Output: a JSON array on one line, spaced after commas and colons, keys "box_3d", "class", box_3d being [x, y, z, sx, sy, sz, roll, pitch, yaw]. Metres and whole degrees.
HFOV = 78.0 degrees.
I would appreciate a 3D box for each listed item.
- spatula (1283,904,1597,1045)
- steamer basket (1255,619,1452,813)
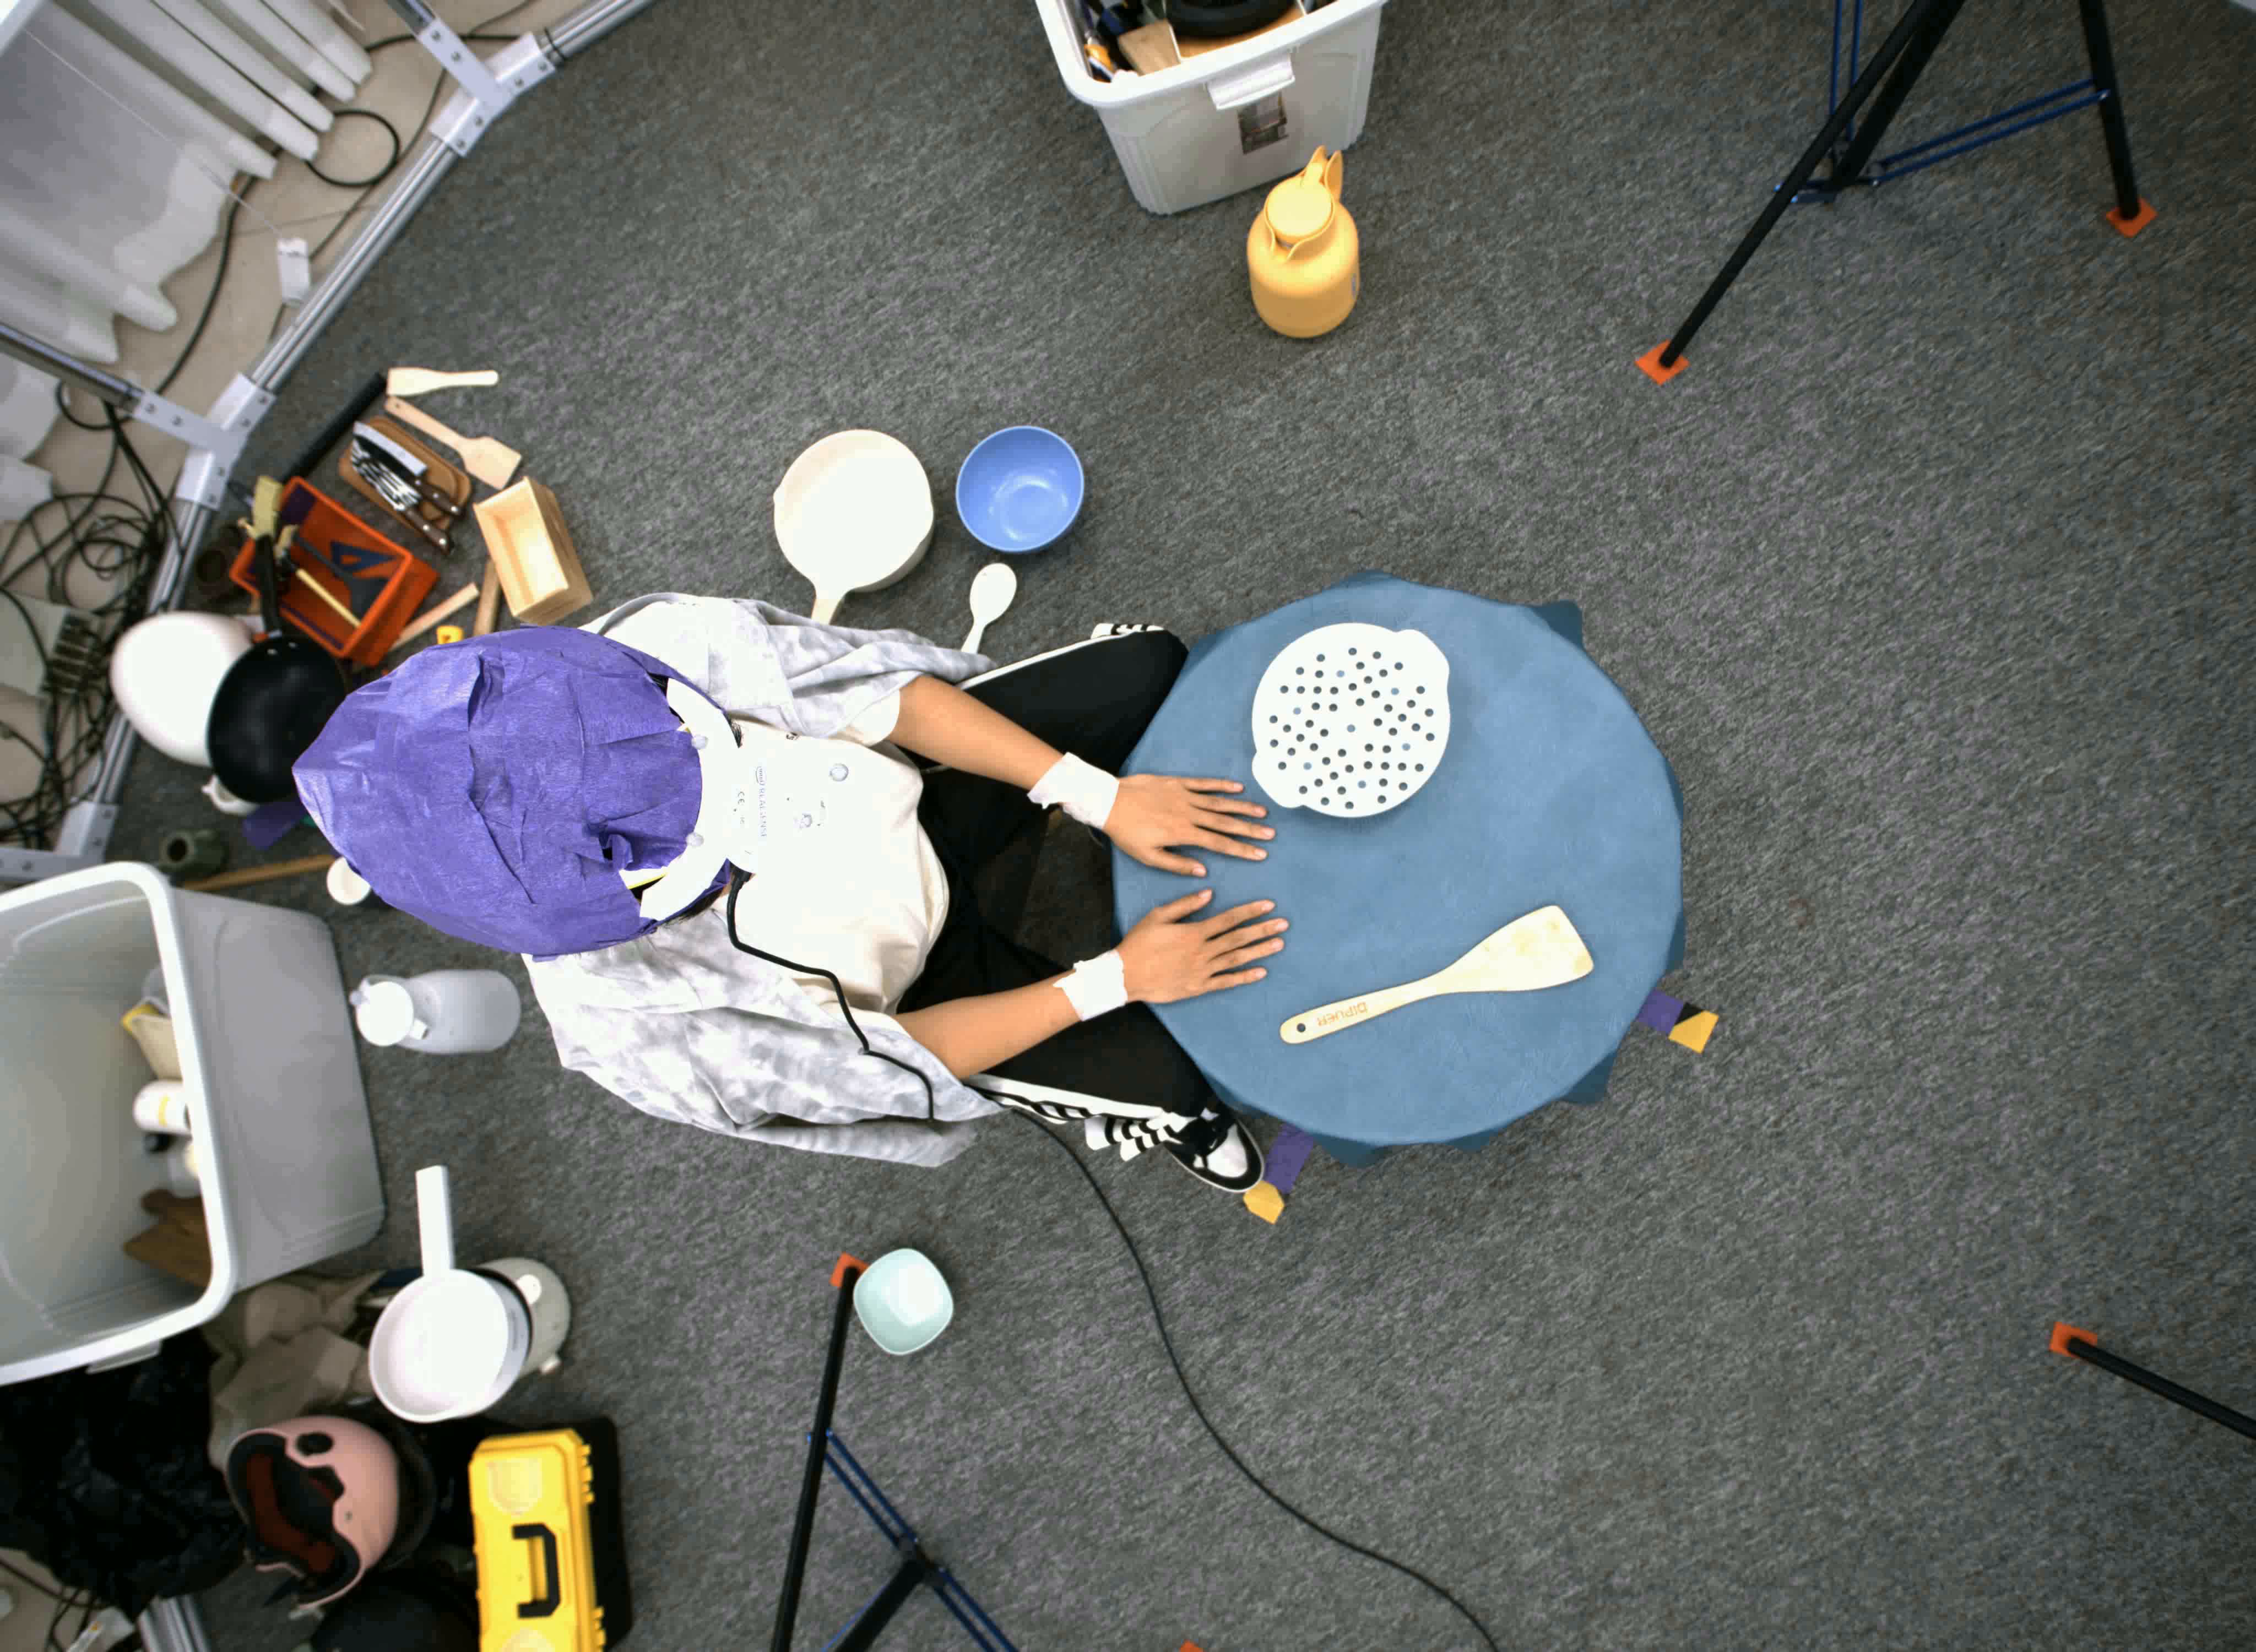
[{"box_3d": [0.316, 0.164, 1.435, 0.329, 0.016, 0.079, -20, 83, 9], "class": "spatula"}, {"box_3d": [0.237, -0.113, 1.440, 0.232, 0.069, 0.200, -40, 79, 6], "class": "steamer basket"}]
